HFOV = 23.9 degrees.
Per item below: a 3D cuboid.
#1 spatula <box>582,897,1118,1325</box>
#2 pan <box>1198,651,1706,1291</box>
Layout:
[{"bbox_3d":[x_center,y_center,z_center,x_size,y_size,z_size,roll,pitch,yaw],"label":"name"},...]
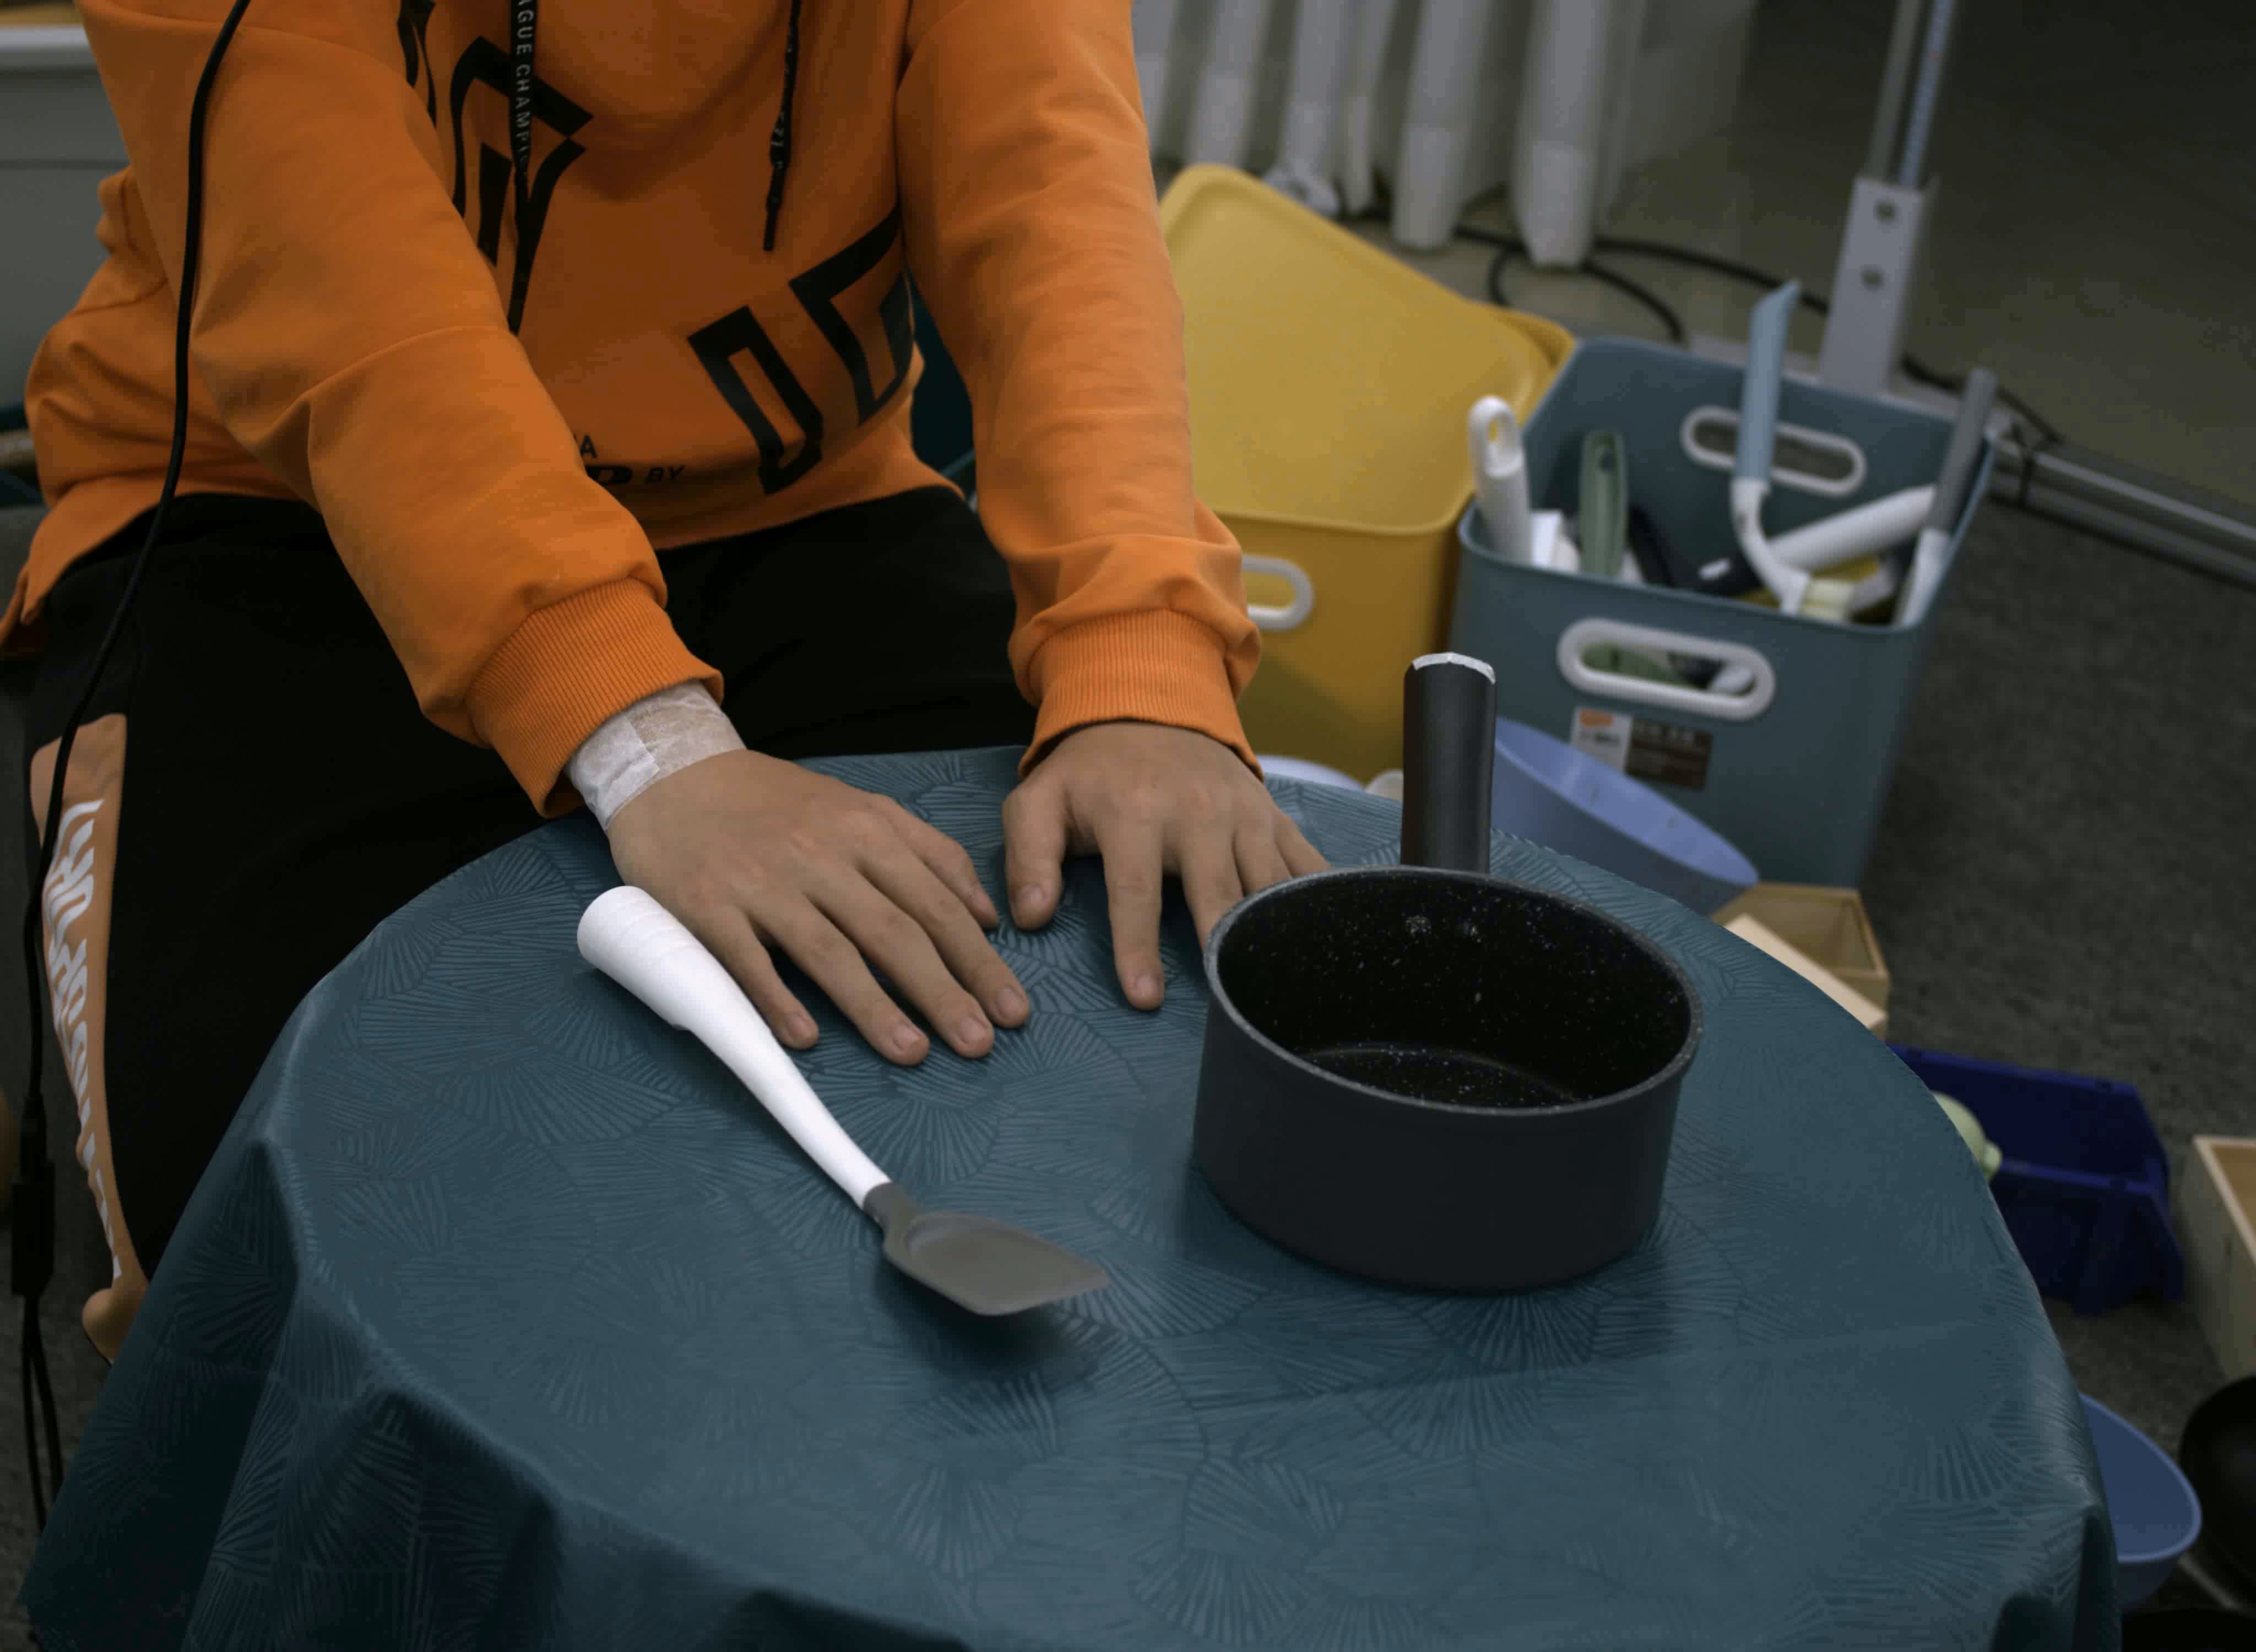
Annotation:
[{"bbox_3d":[-0.102,0.100,1.792,0.058,0.032,0.290,-9,30,-34],"label":"spatula"},{"bbox_3d":[0.114,0.047,1.884,0.171,0.086,0.330,8,29,2],"label":"pan"}]
